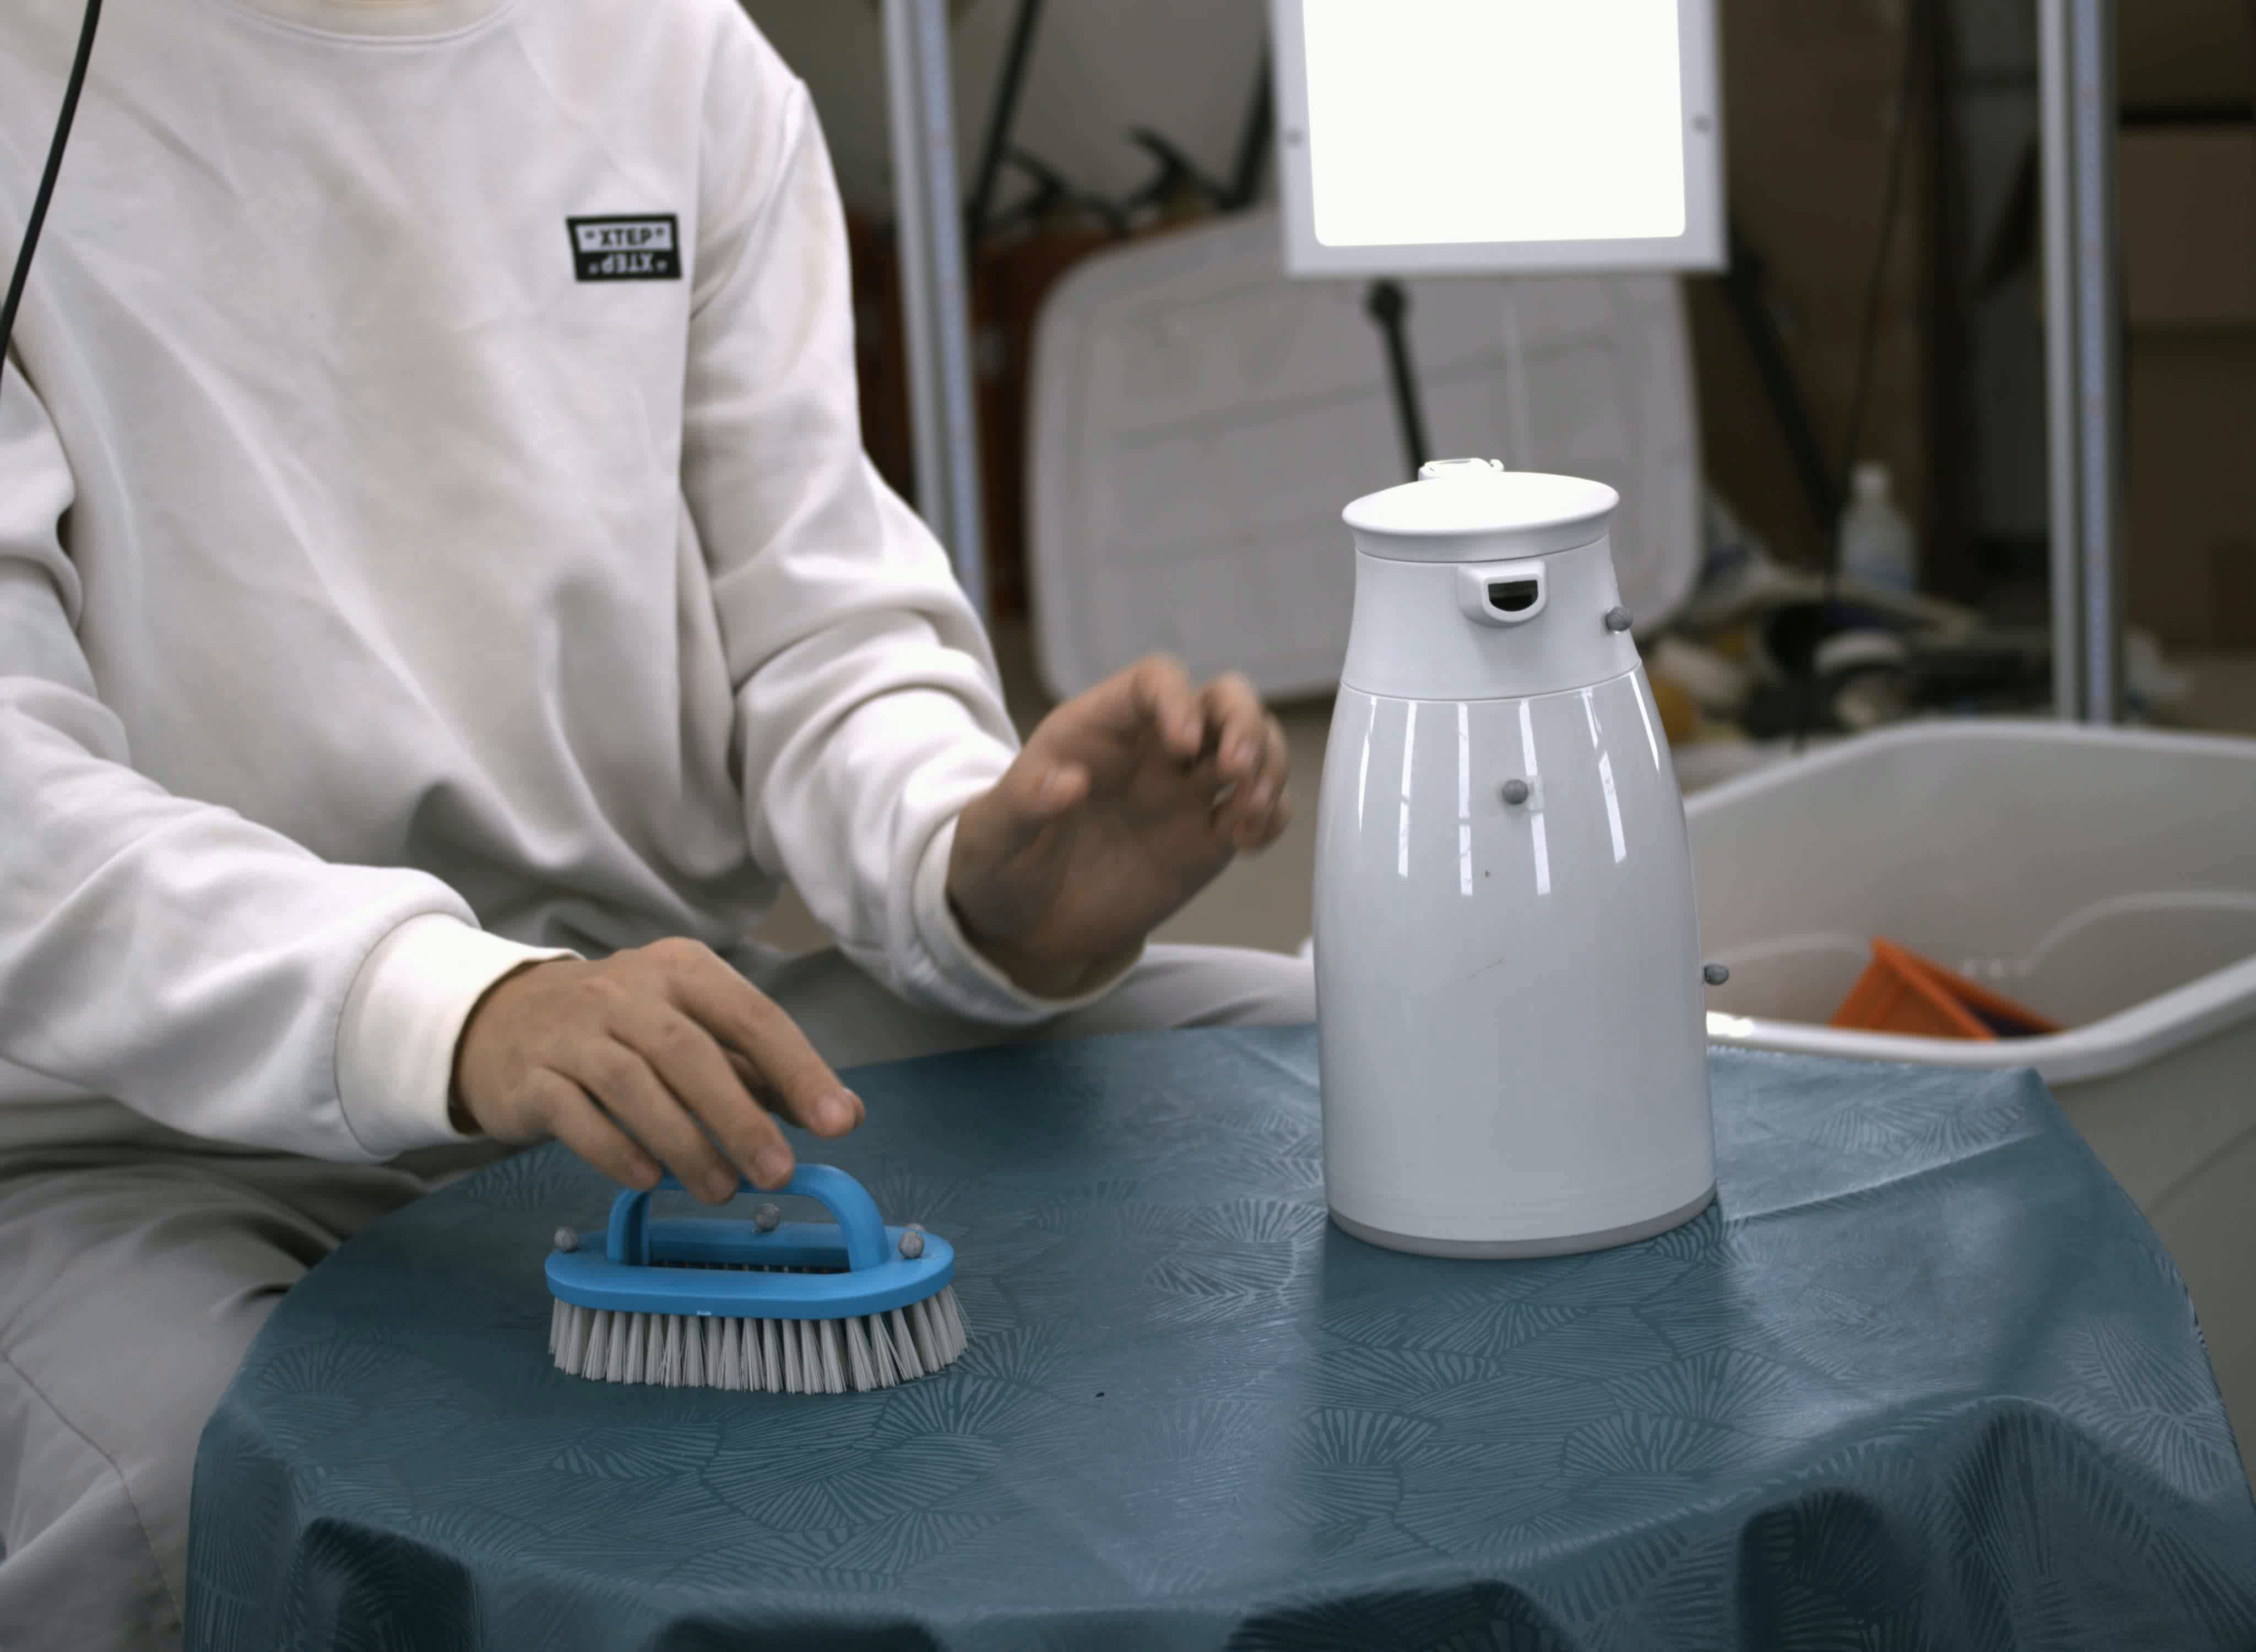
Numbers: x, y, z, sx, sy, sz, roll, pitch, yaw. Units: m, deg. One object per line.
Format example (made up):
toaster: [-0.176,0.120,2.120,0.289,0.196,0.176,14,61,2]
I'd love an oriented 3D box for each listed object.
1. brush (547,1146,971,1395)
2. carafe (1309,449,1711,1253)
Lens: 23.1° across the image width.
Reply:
brush: [-0.122,0.135,1.764,0.144,0.064,0.083,2,20,24]
carafe: [0.120,0.000,1.843,0.132,0.249,0.168,-6,13,-4]
